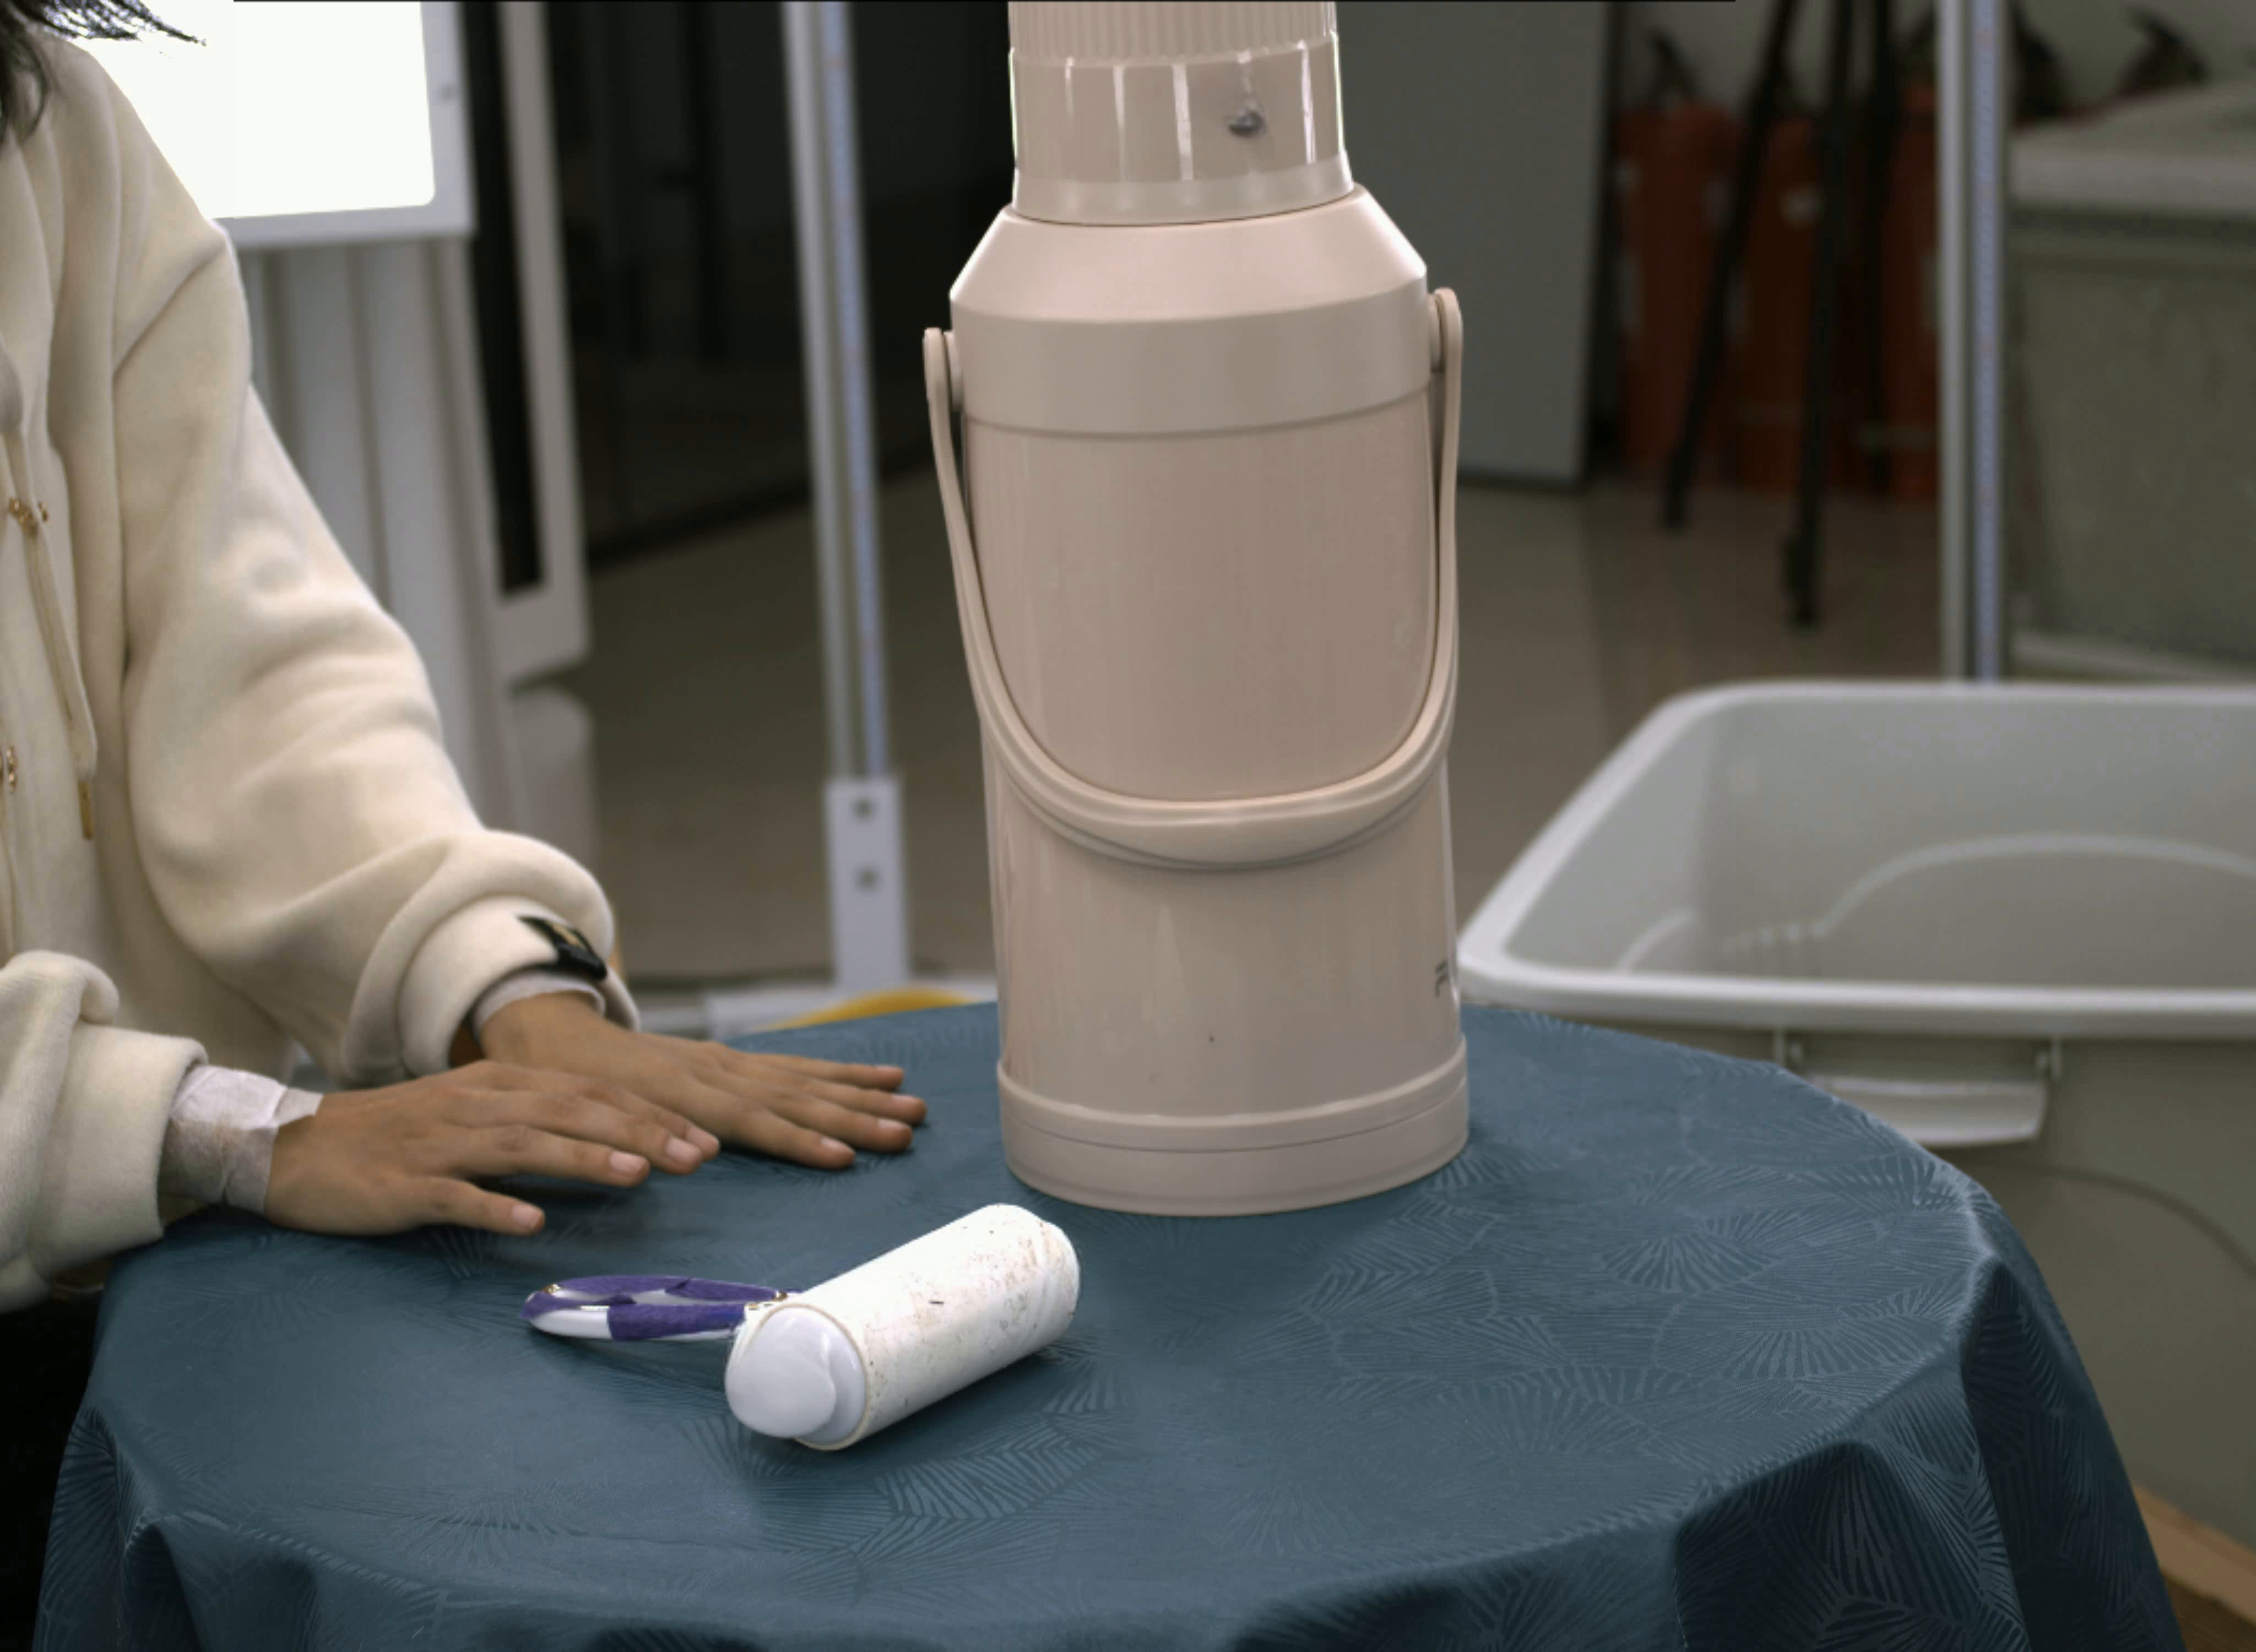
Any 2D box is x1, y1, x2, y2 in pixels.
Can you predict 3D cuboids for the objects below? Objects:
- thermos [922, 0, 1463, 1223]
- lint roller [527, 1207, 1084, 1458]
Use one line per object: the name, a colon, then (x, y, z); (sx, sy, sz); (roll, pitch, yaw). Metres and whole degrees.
thermos: (0.024, -0.089, 1.779); (0.172, 0.411, 0.208); (-5, 13, -5)
lint roller: (-0.112, 0.140, 1.627); (0.182, 0.051, 0.130); (10, 21, 39)
